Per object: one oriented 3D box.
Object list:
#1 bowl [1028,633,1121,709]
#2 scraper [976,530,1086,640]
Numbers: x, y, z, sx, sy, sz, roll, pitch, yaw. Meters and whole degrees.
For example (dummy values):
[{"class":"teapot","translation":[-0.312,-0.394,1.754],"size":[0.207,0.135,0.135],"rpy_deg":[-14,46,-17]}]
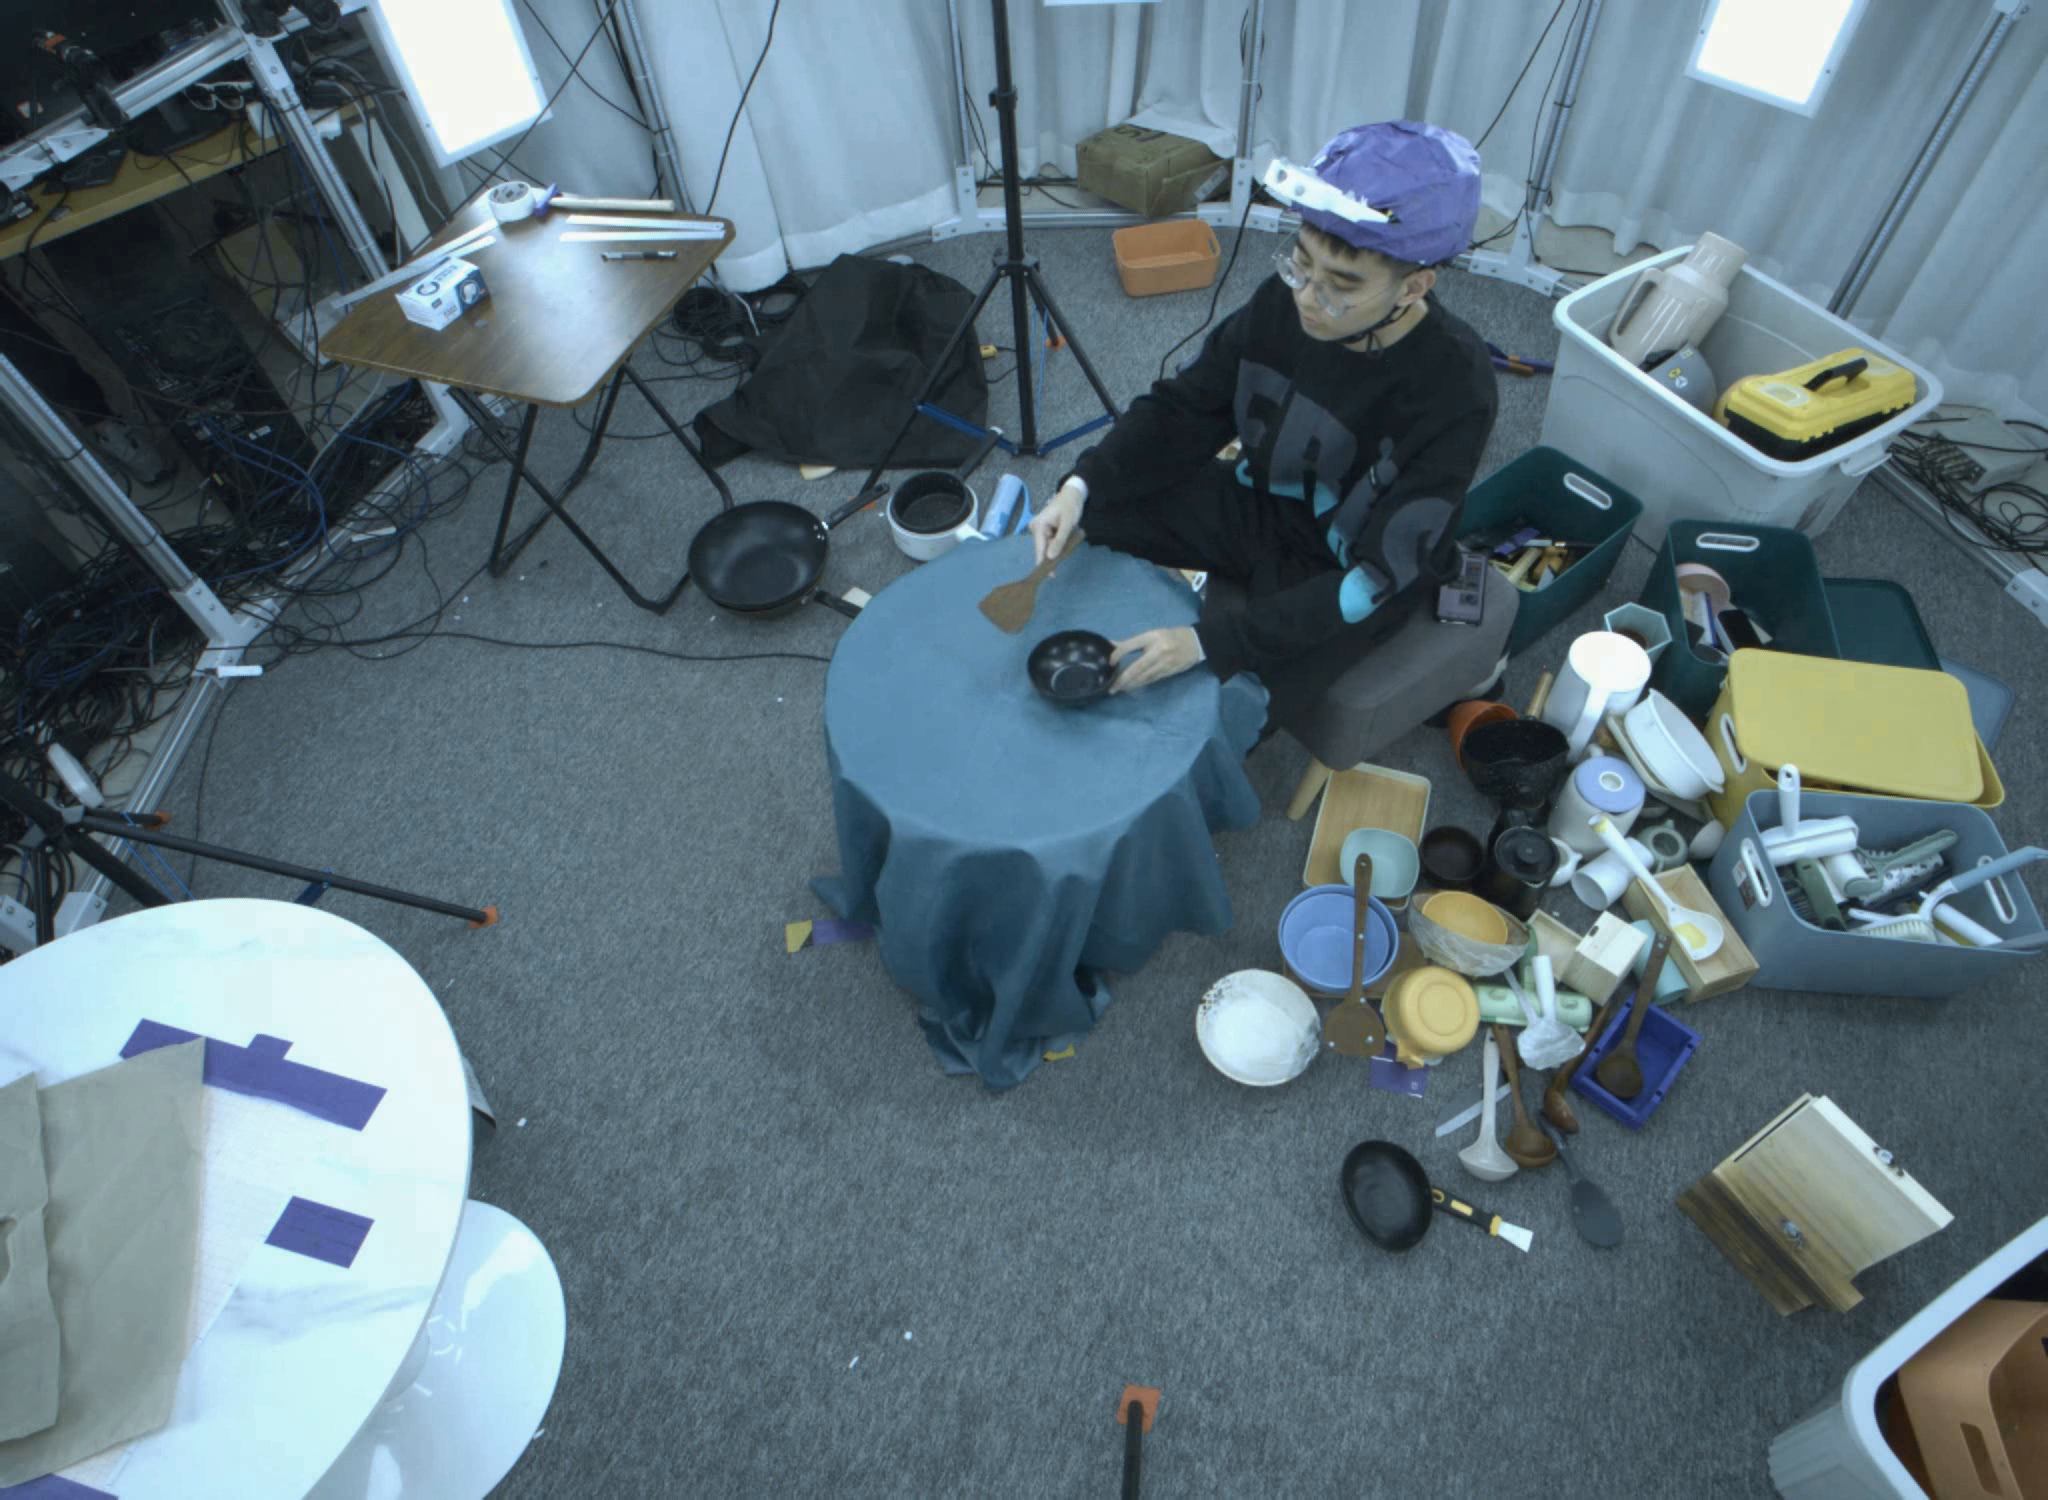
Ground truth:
[{"class":"bowl","translation":[0.078,-0.108,1.839],"size":[0.139,0.050,0.138],"rpy_deg":[-3,50,5]},{"class":"scraper","translation":[0.019,-0.255,1.844],"size":[0.076,0.011,0.212],"rpy_deg":[42,74,2]}]
